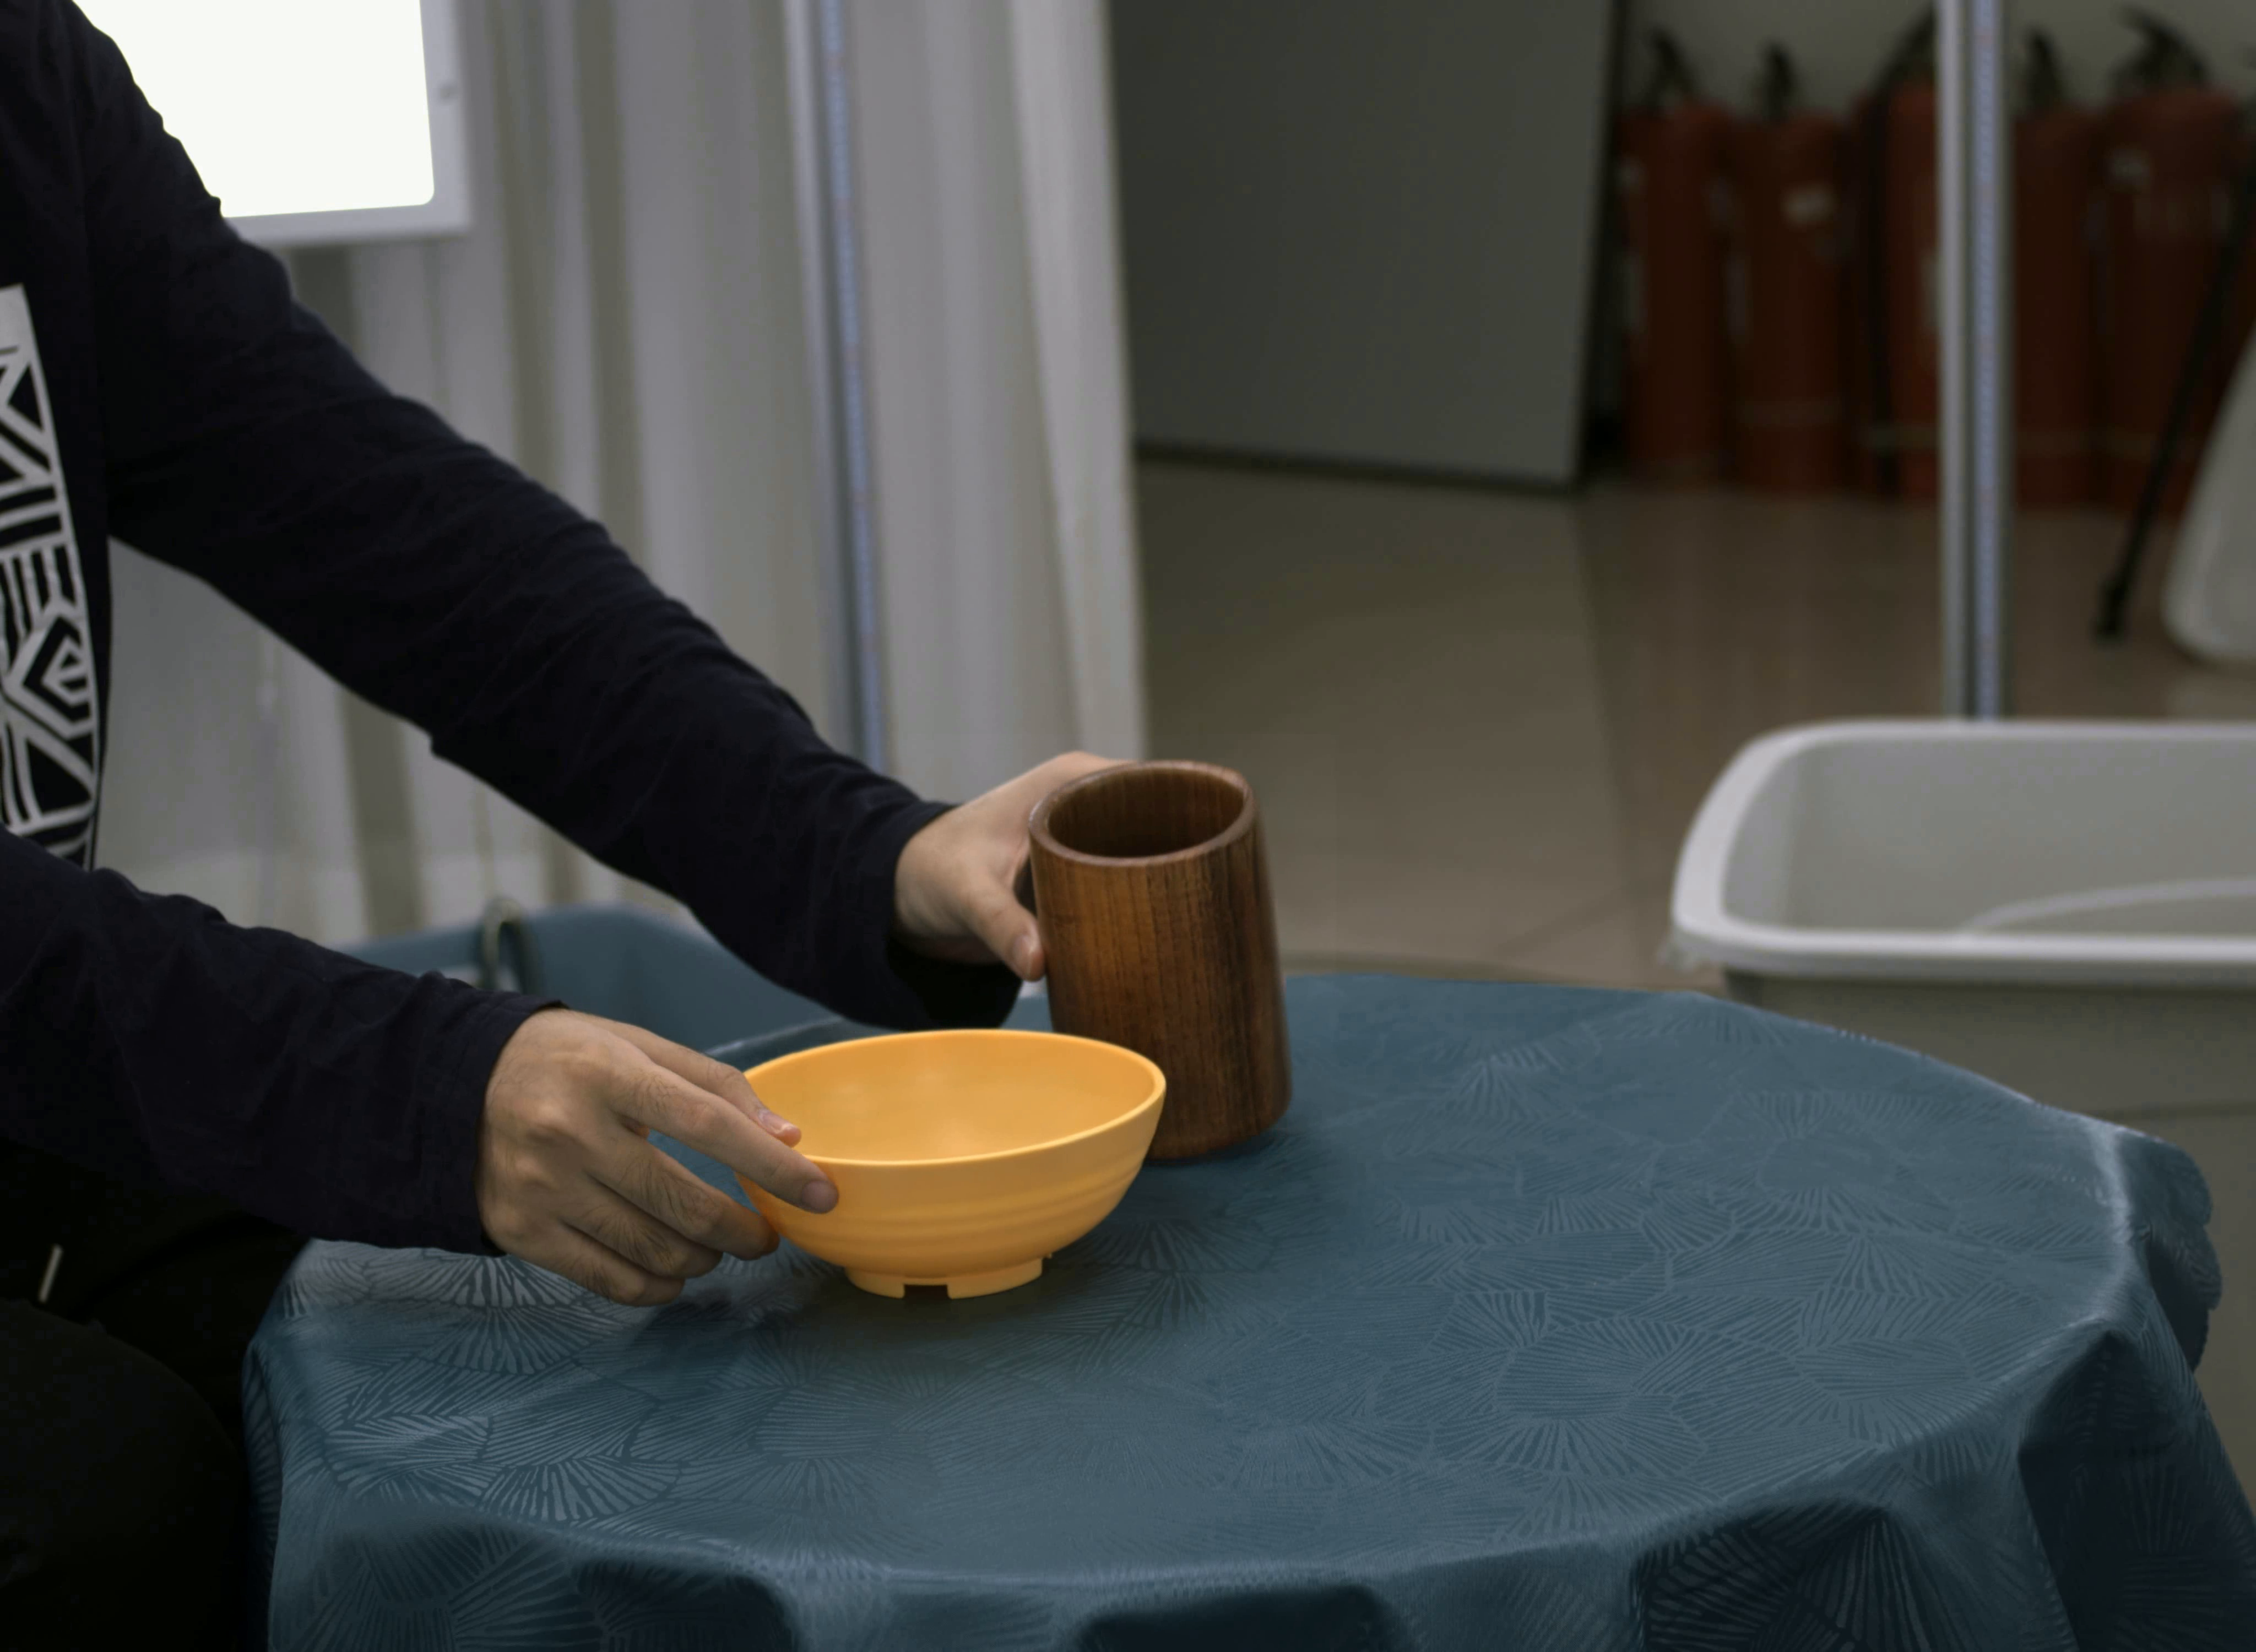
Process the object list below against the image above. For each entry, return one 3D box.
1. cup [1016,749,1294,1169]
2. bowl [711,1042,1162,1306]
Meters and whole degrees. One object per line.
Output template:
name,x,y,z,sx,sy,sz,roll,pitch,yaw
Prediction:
cup,0.010,0.044,1.800,0.086,0.119,0.088,-6,23,2
bowl,-0.058,0.113,1.703,0.143,0.061,0.145,-4,12,0
